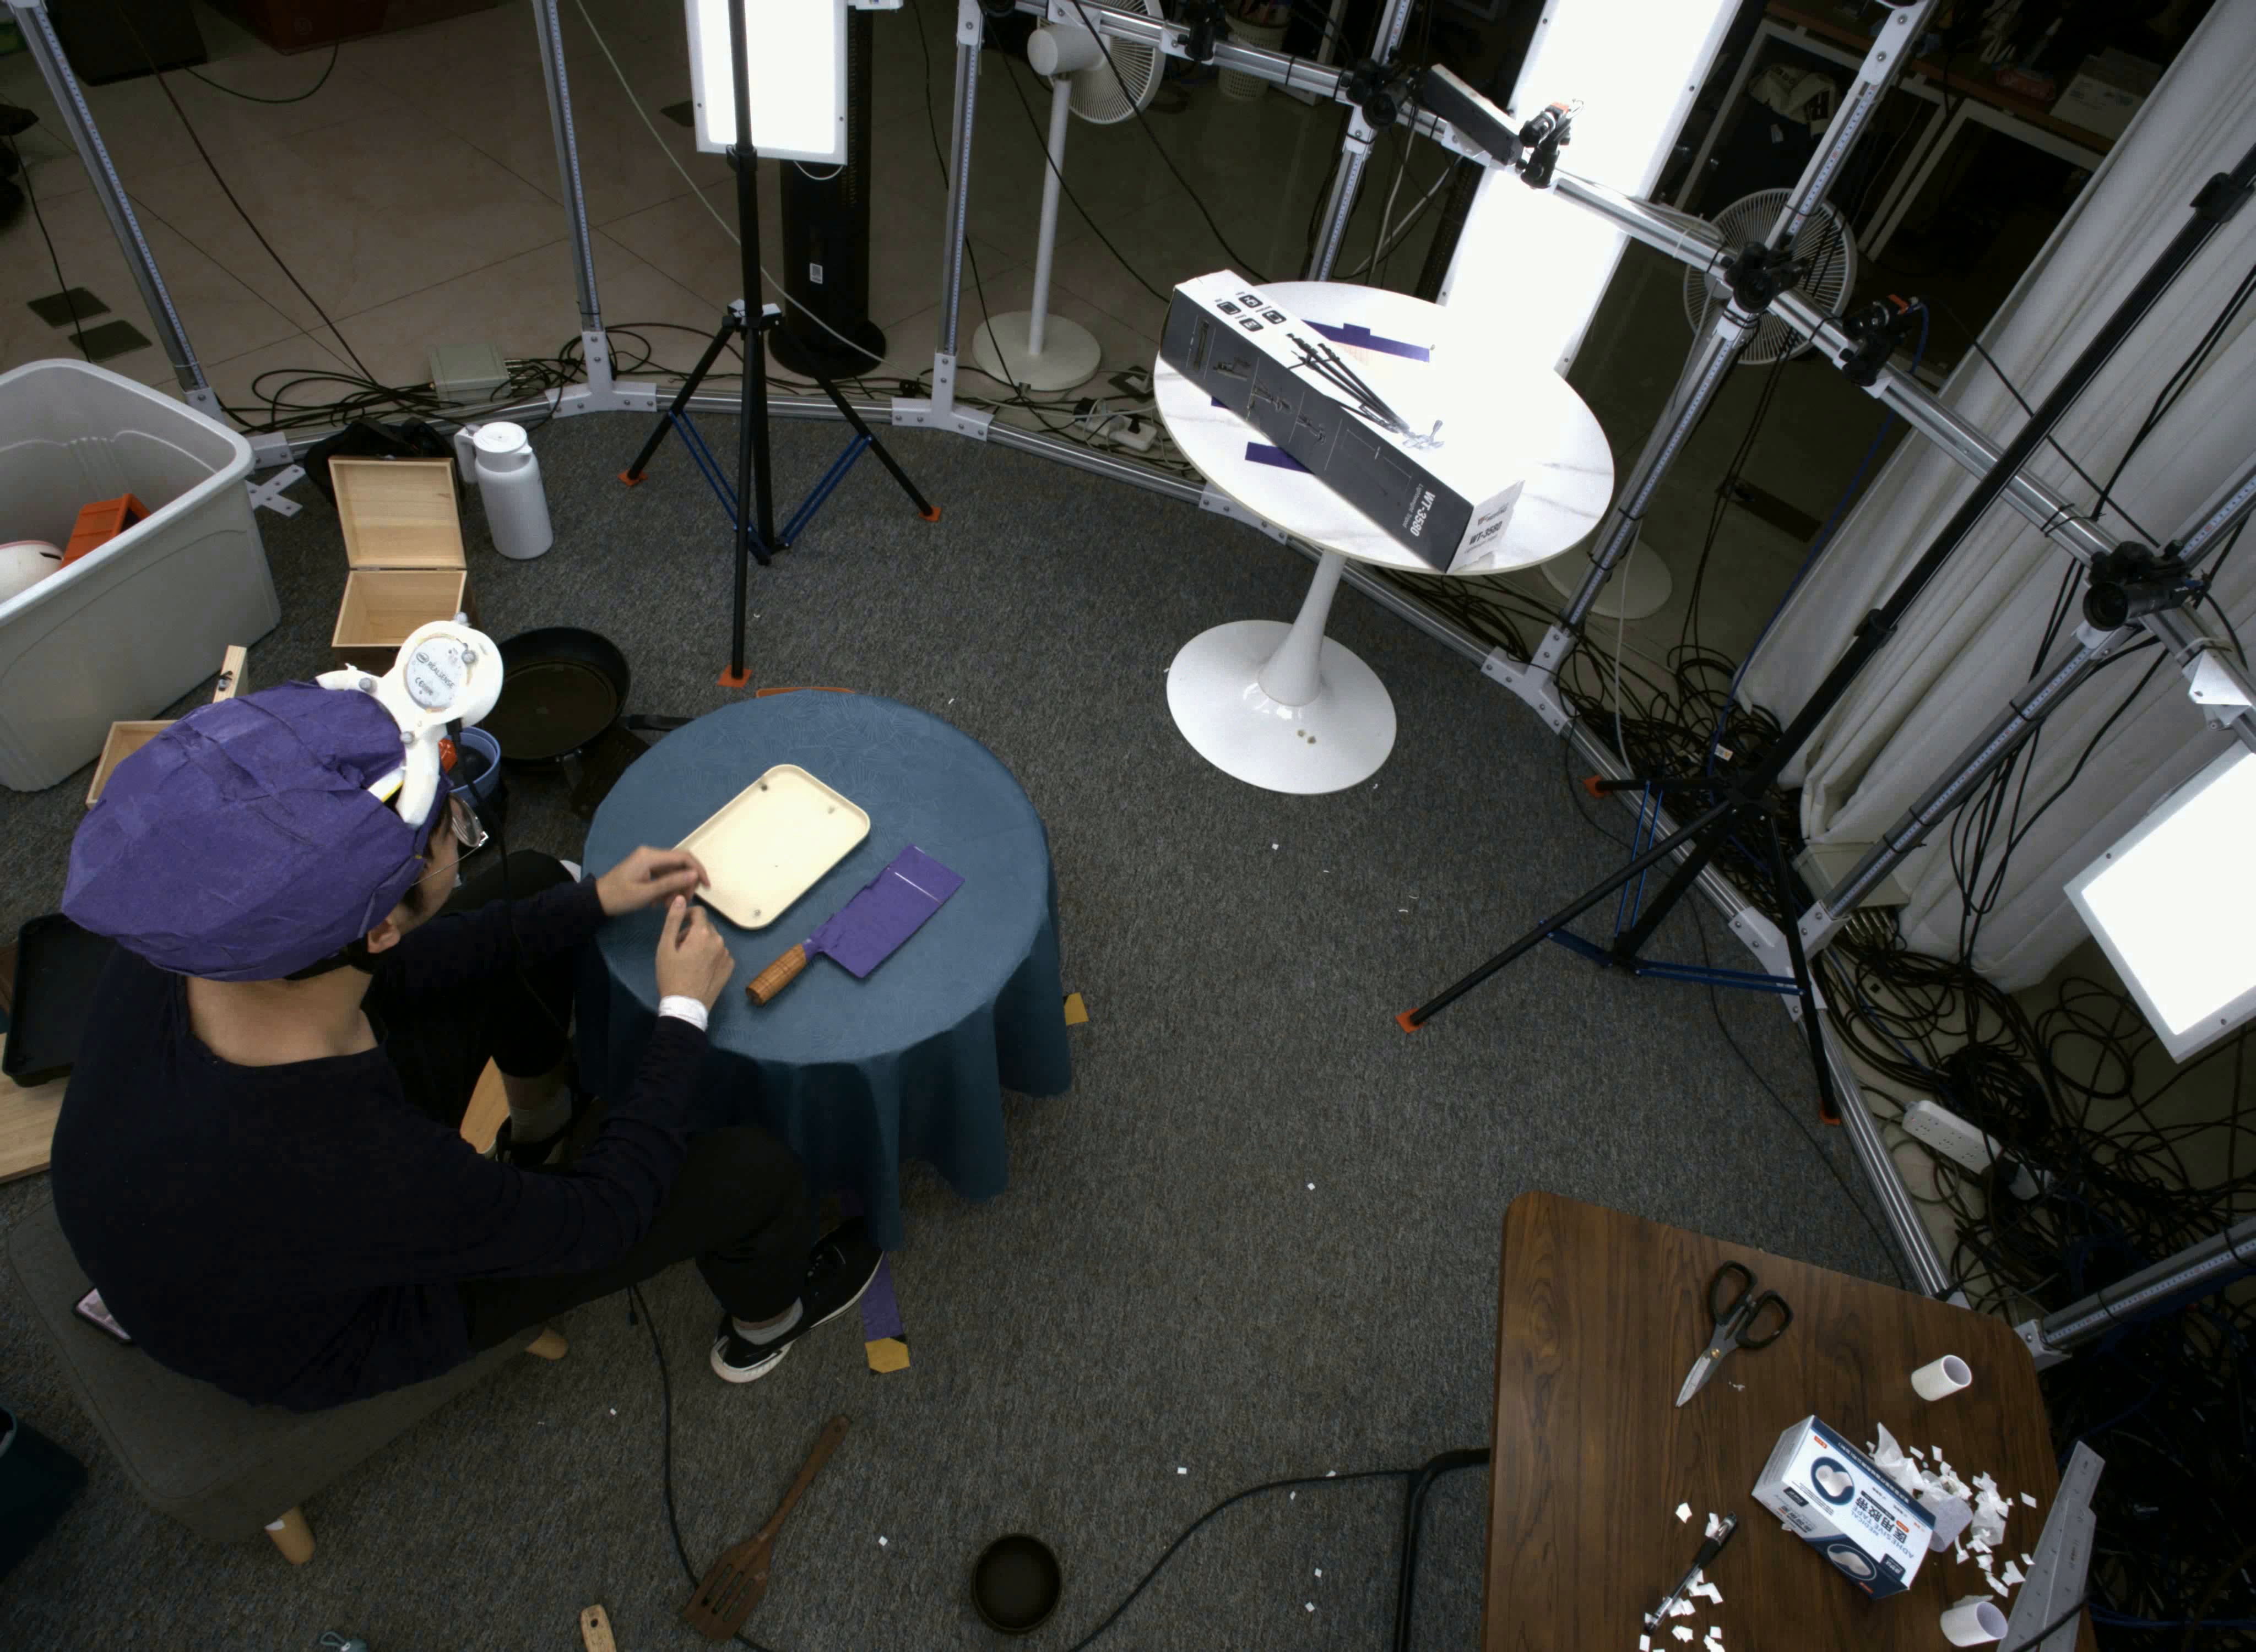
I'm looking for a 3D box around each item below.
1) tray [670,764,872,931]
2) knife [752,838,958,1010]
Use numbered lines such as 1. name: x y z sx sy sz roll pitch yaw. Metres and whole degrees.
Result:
1. tray: -0.465 0.024 1.695 0.168 0.018 0.239 34 53 11
2. knife: -0.335 0.130 1.644 0.102 0.033 0.314 33 53 11
